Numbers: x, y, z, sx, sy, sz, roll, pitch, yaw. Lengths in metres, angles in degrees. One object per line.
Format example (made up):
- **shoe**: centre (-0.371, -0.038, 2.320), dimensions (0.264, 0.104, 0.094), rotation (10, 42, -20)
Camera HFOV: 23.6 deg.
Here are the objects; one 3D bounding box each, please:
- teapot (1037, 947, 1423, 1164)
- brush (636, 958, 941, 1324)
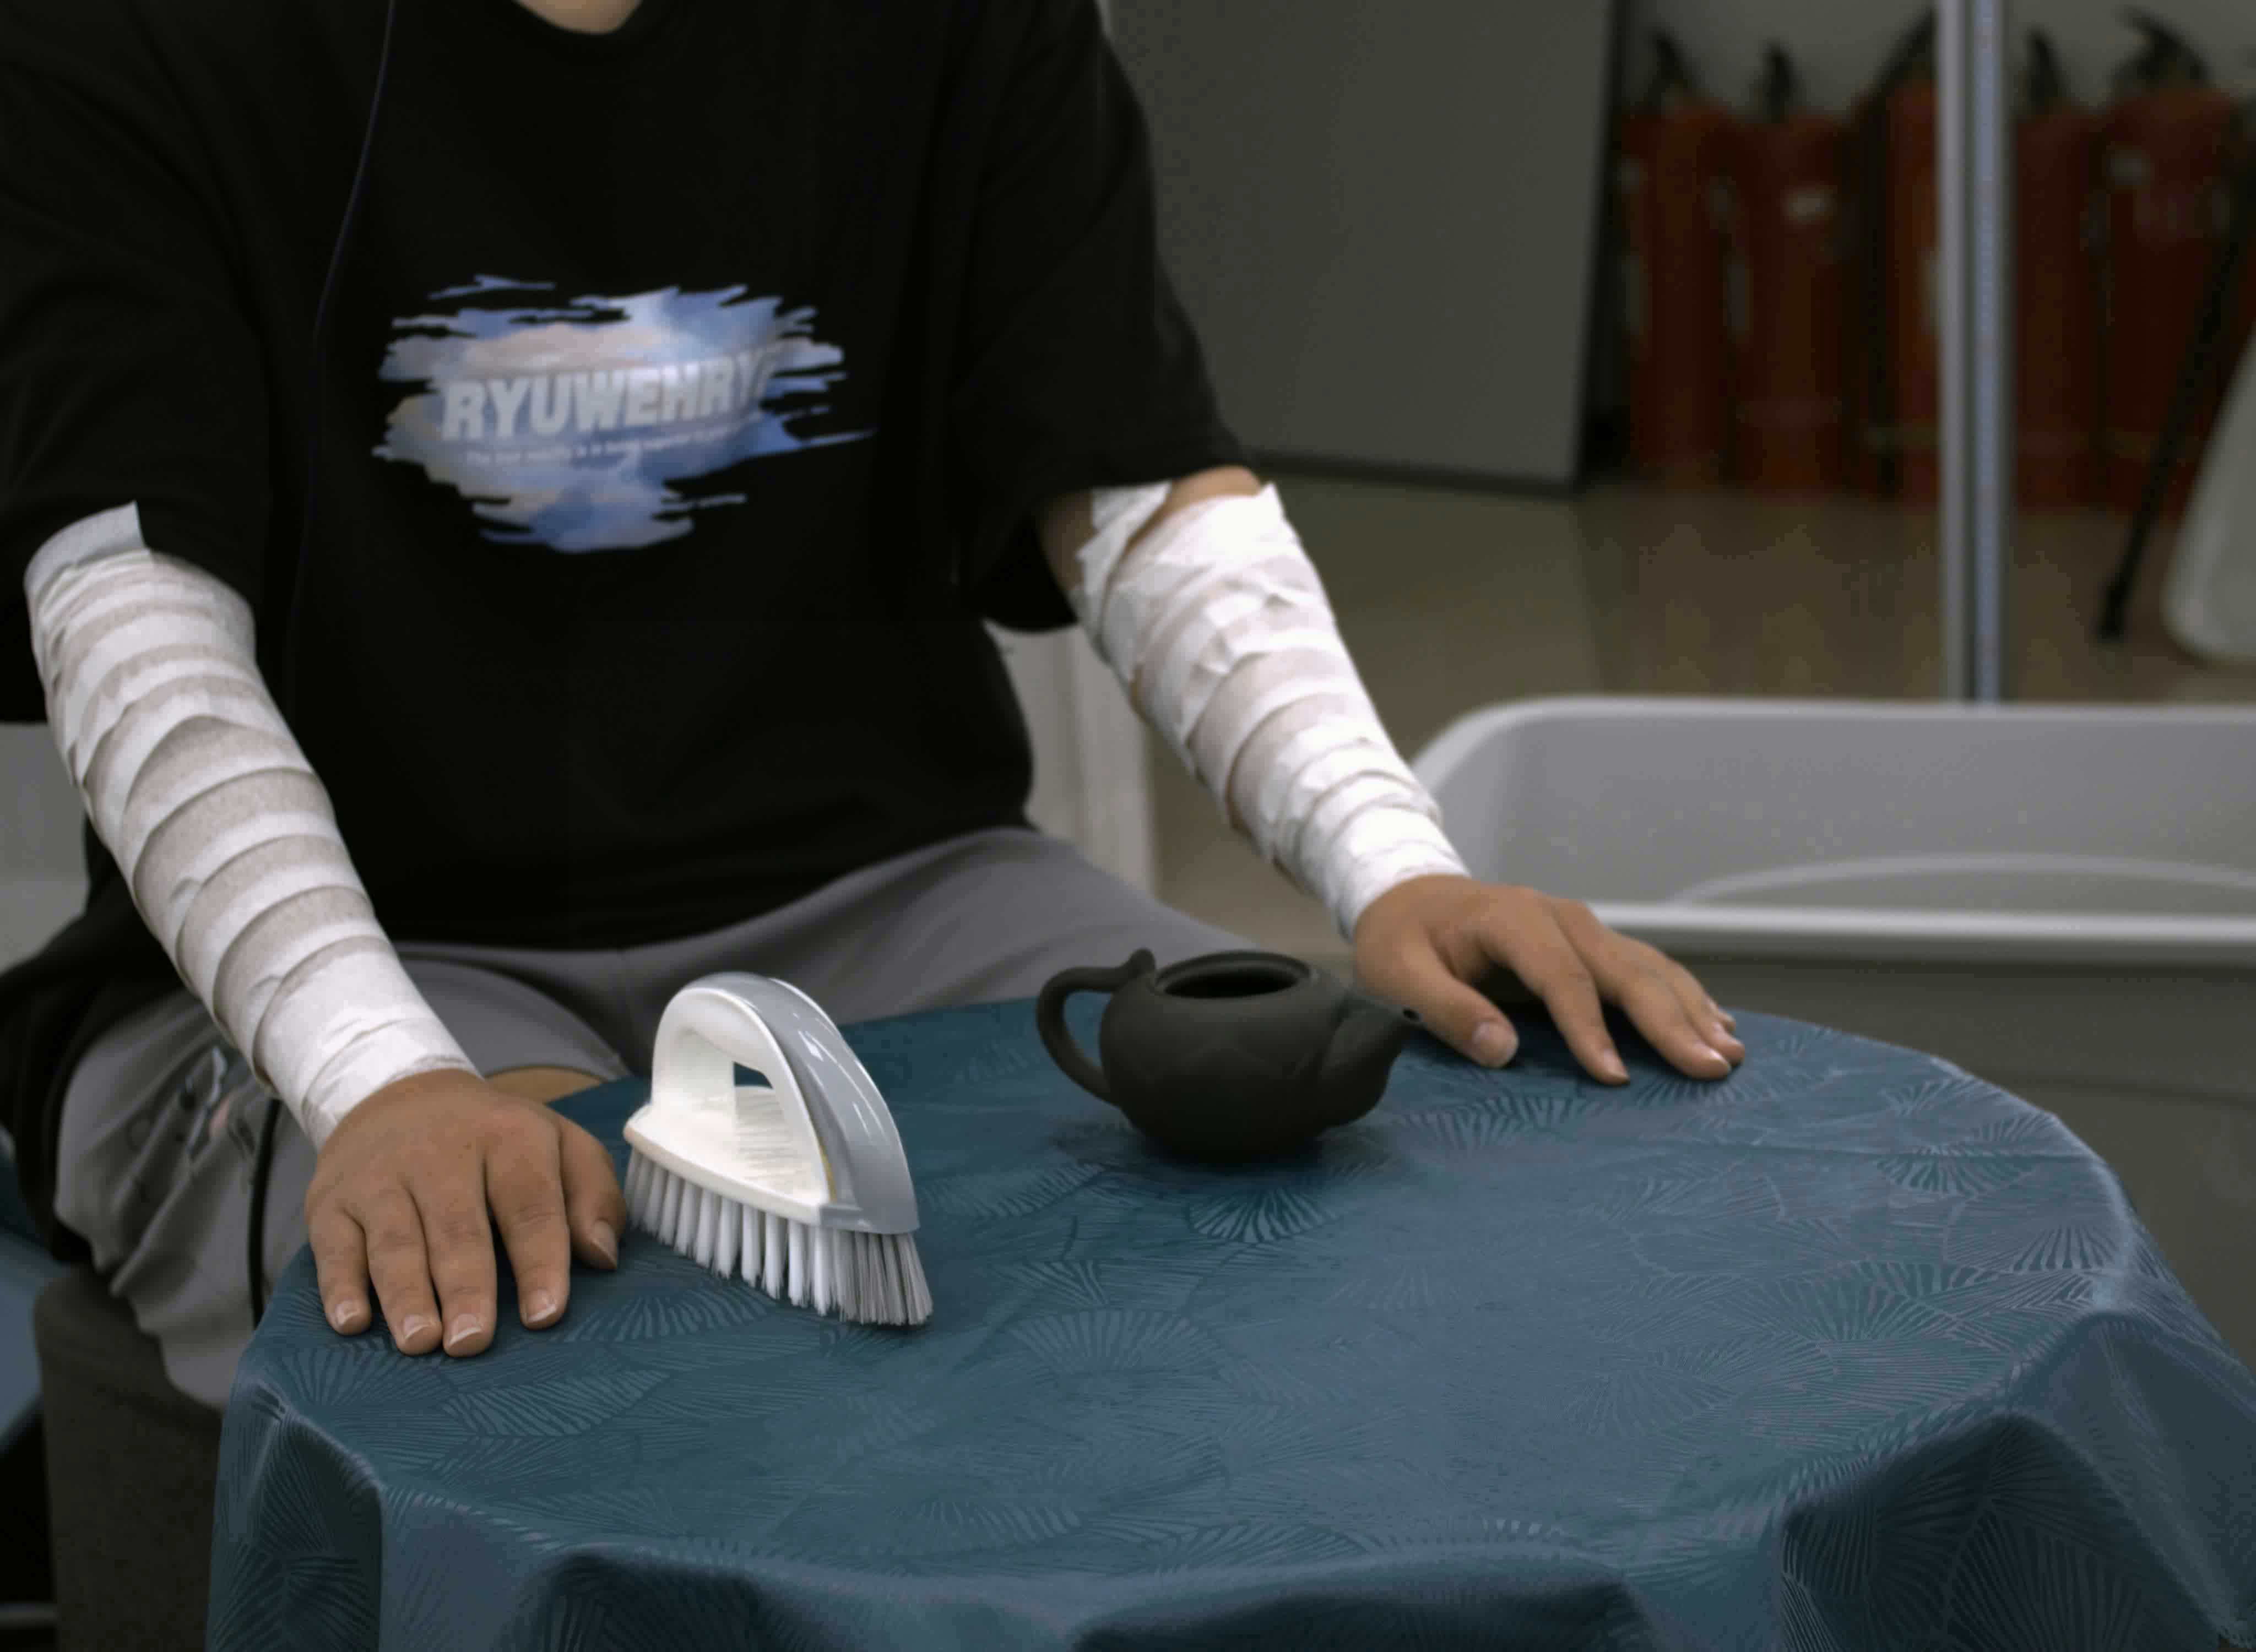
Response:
- **teapot**: centre (0.033, 0.076, 1.813), dimensions (0.155, 0.065, 0.091), rotation (7, 17, 34)
- **brush**: centre (-0.105, 0.096, 1.715), dimensions (0.060, 0.095, 0.177), rotation (-14, 18, -24)
